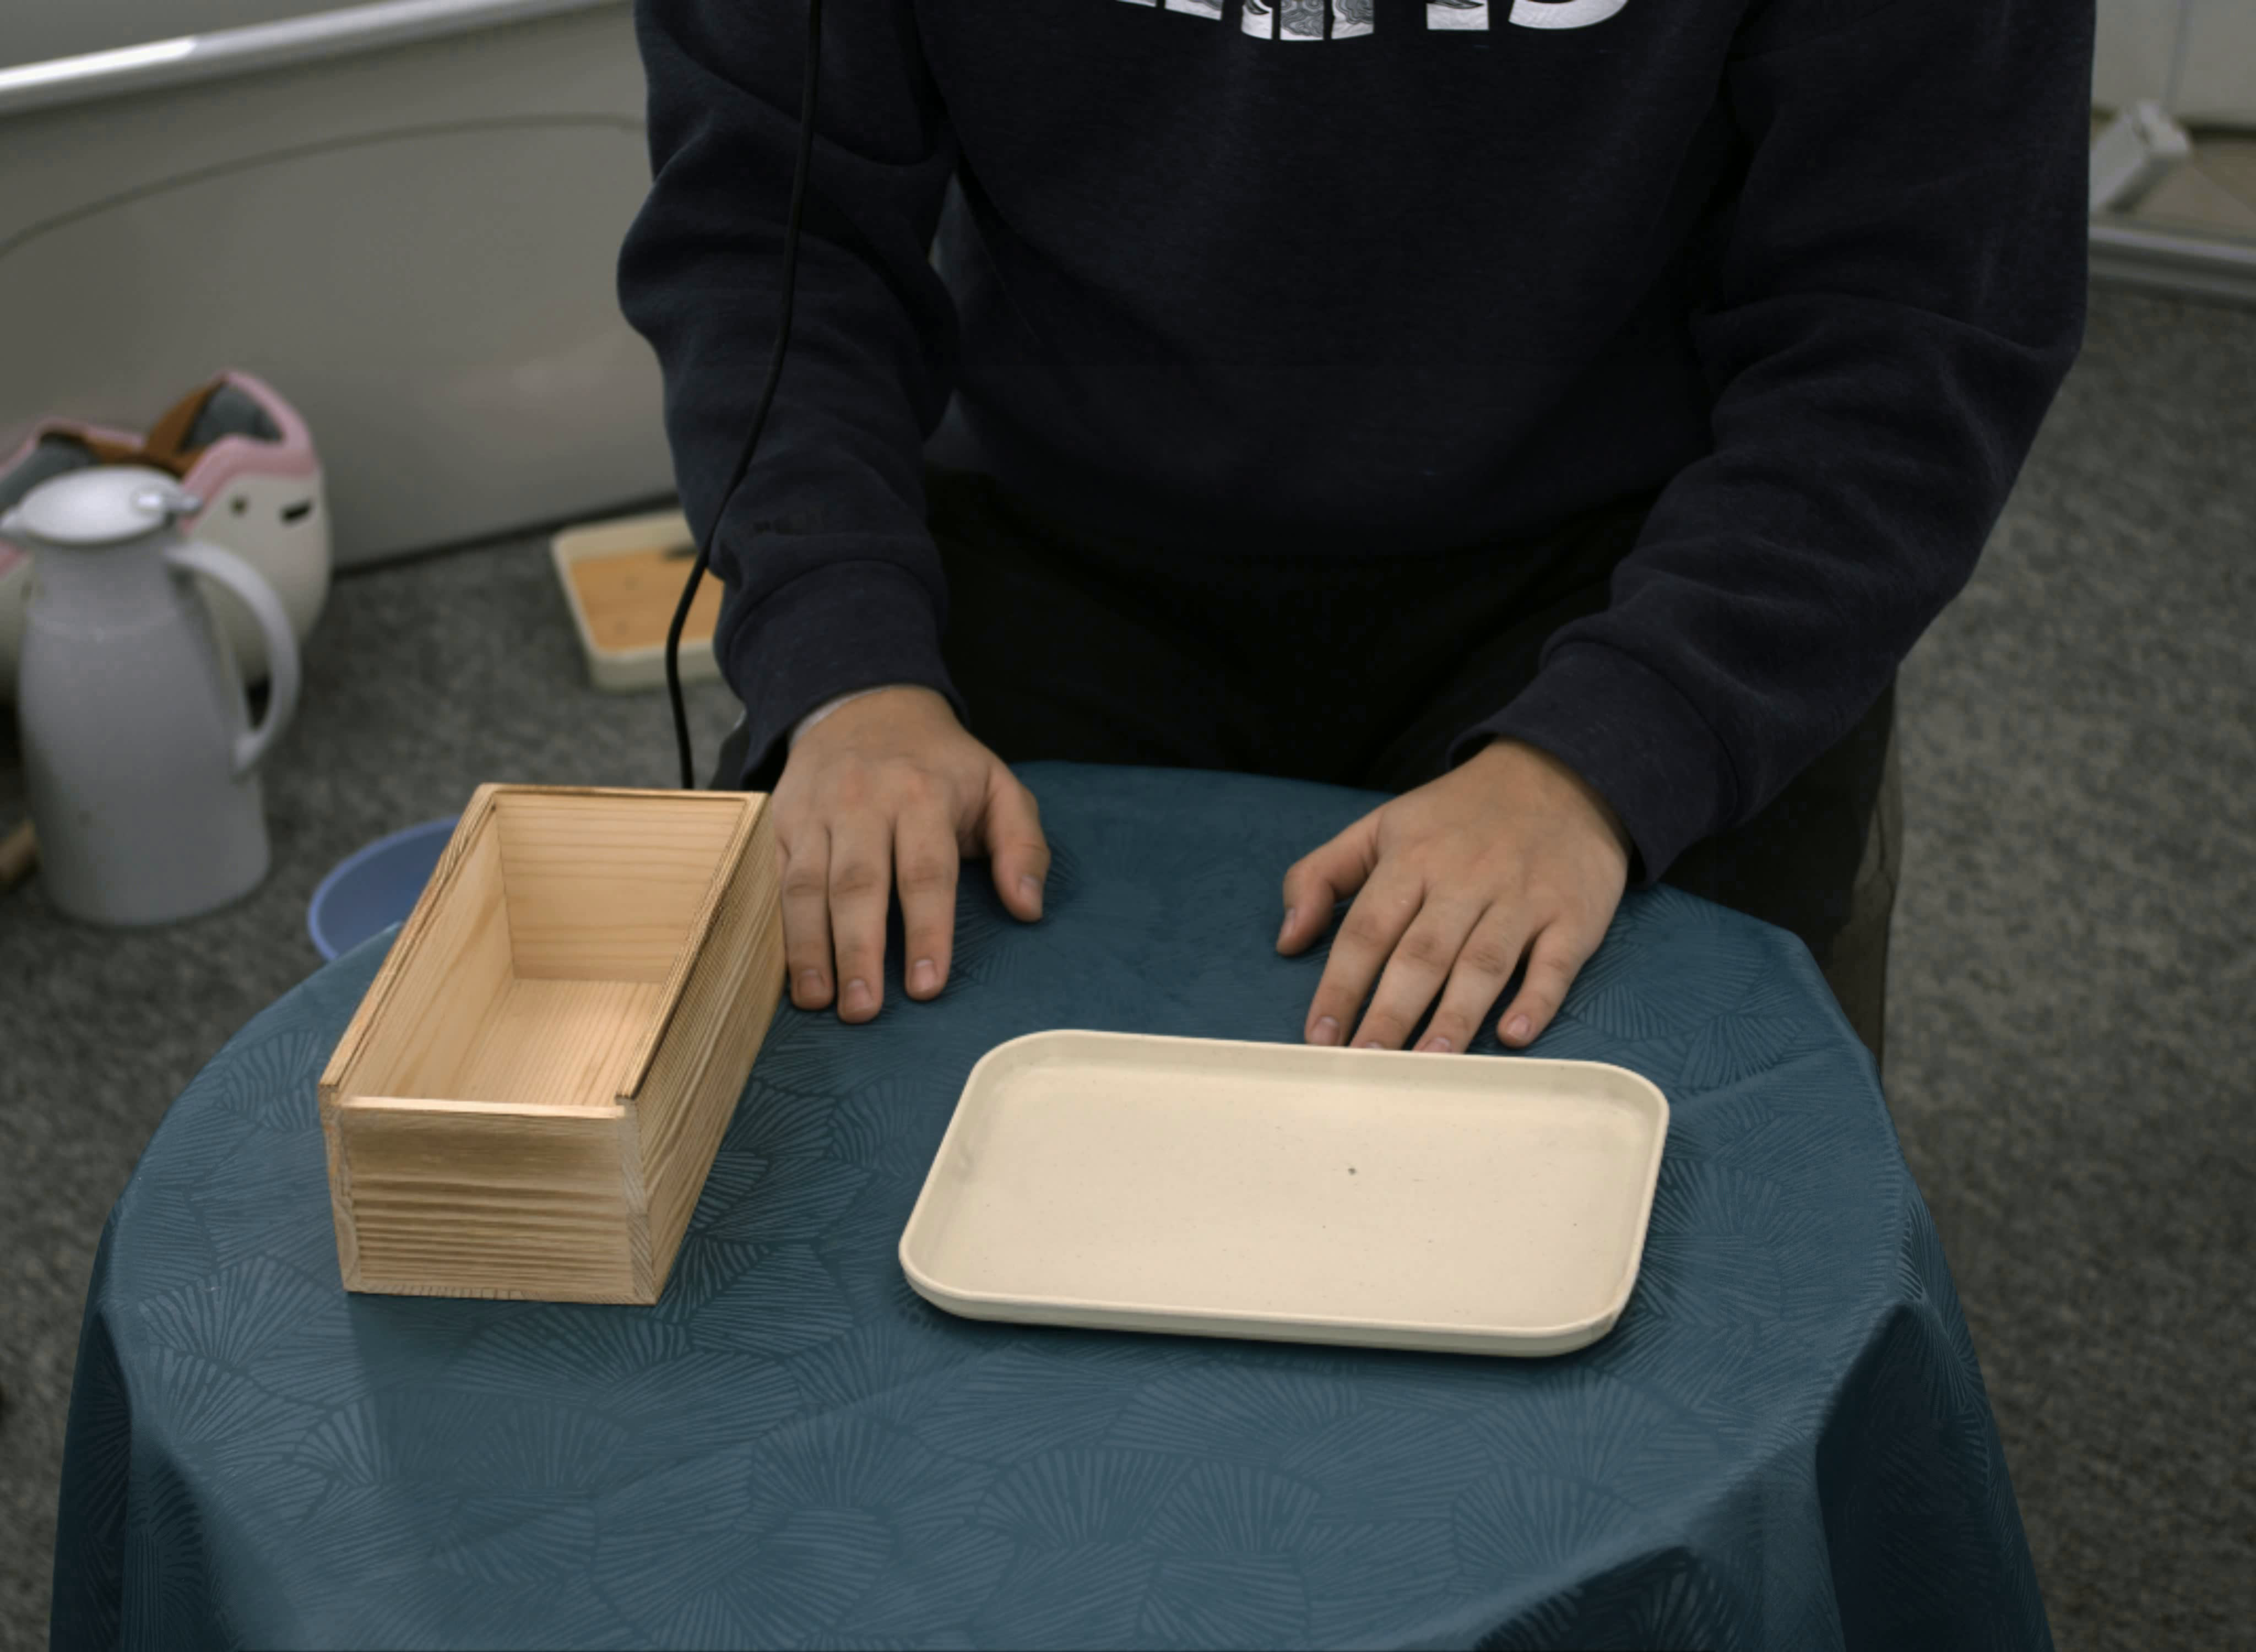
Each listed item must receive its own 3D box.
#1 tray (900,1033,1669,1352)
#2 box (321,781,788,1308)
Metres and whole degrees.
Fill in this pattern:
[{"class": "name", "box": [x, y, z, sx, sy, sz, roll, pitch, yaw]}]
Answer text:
[{"class": "tray", "box": [0.053, 0.120, 1.843, 0.238, 0.017, 0.174, 3, 27, 10]}, {"class": "box", "box": [-0.189, 0.070, 1.895, 0.107, 0.079, 0.215, 2, 28, 8]}]
